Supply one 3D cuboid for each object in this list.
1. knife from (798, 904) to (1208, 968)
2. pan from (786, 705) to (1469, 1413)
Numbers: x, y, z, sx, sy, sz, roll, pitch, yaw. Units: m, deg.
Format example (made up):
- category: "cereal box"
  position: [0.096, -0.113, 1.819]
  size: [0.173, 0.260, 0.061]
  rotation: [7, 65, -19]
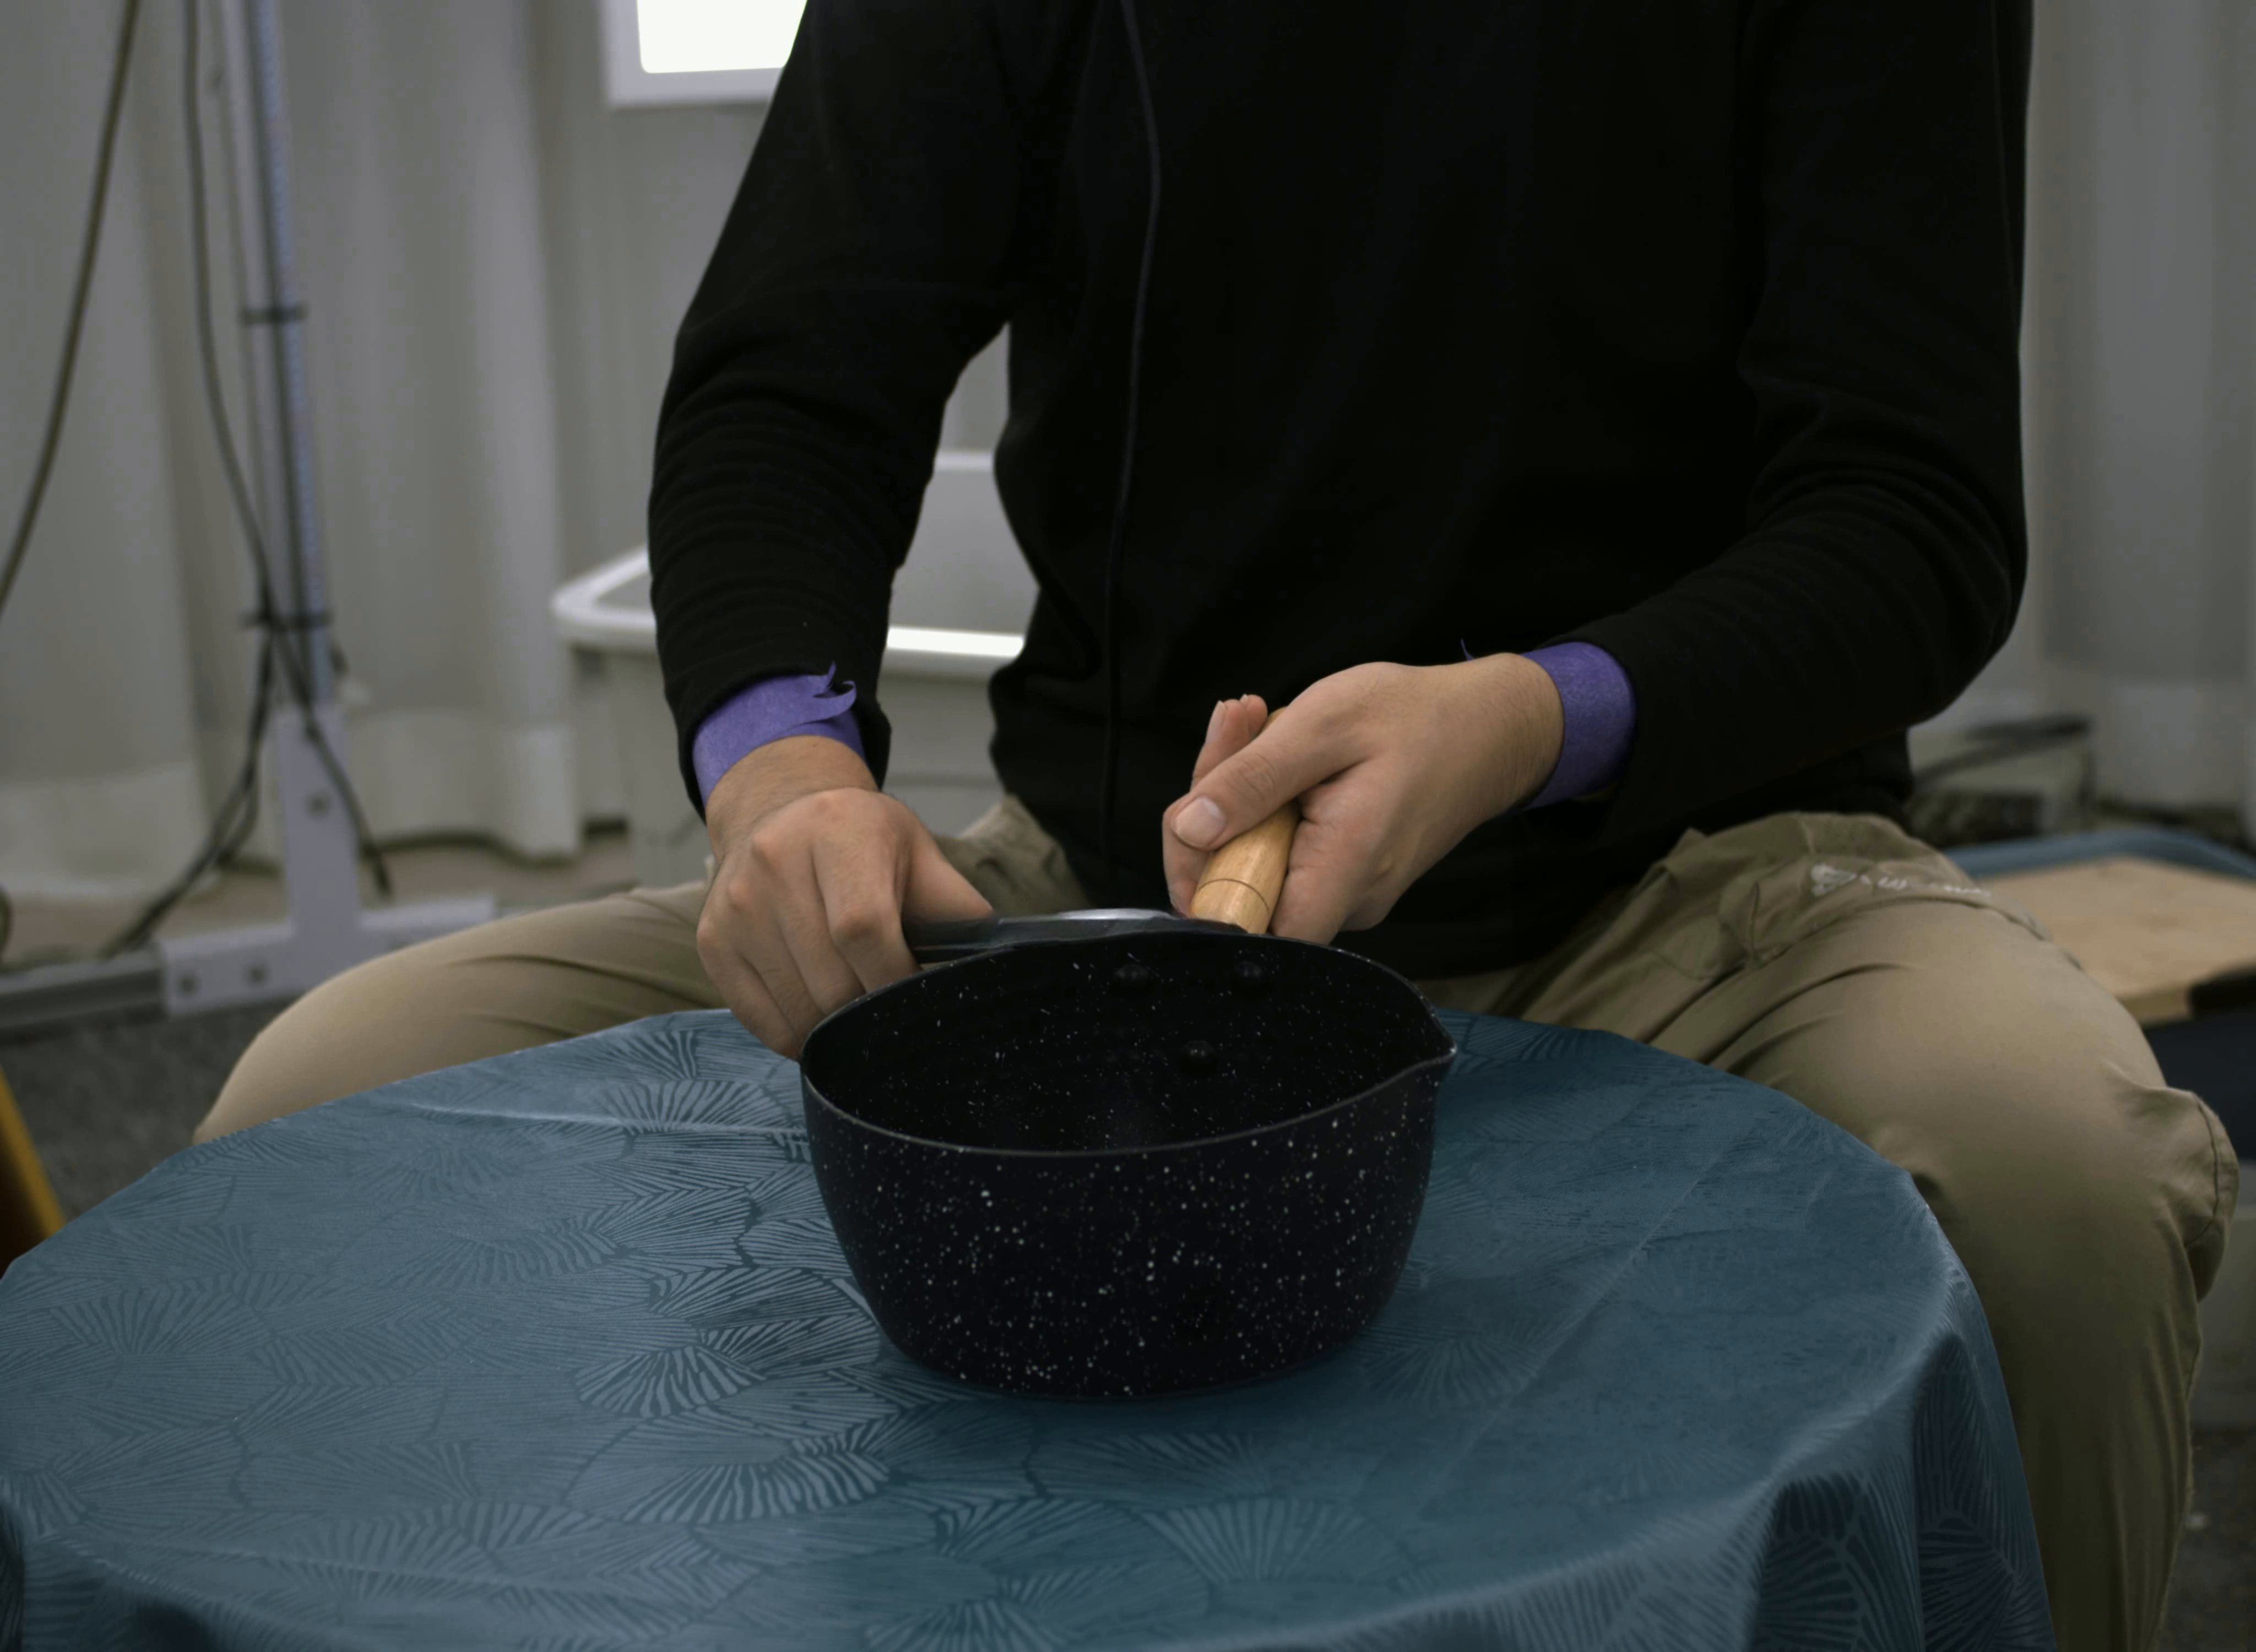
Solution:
- category: "knife"
  position: [-0.042, 0.033, 1.691]
  size: [0.024, 0.016, 0.238]
  rotation: [-30, 13, -29]
- category: "pan"
  position: [0.017, 0.066, 1.662]
  size: [0.207, 0.107, 0.345]
  rotation: [0, 19, 14]
